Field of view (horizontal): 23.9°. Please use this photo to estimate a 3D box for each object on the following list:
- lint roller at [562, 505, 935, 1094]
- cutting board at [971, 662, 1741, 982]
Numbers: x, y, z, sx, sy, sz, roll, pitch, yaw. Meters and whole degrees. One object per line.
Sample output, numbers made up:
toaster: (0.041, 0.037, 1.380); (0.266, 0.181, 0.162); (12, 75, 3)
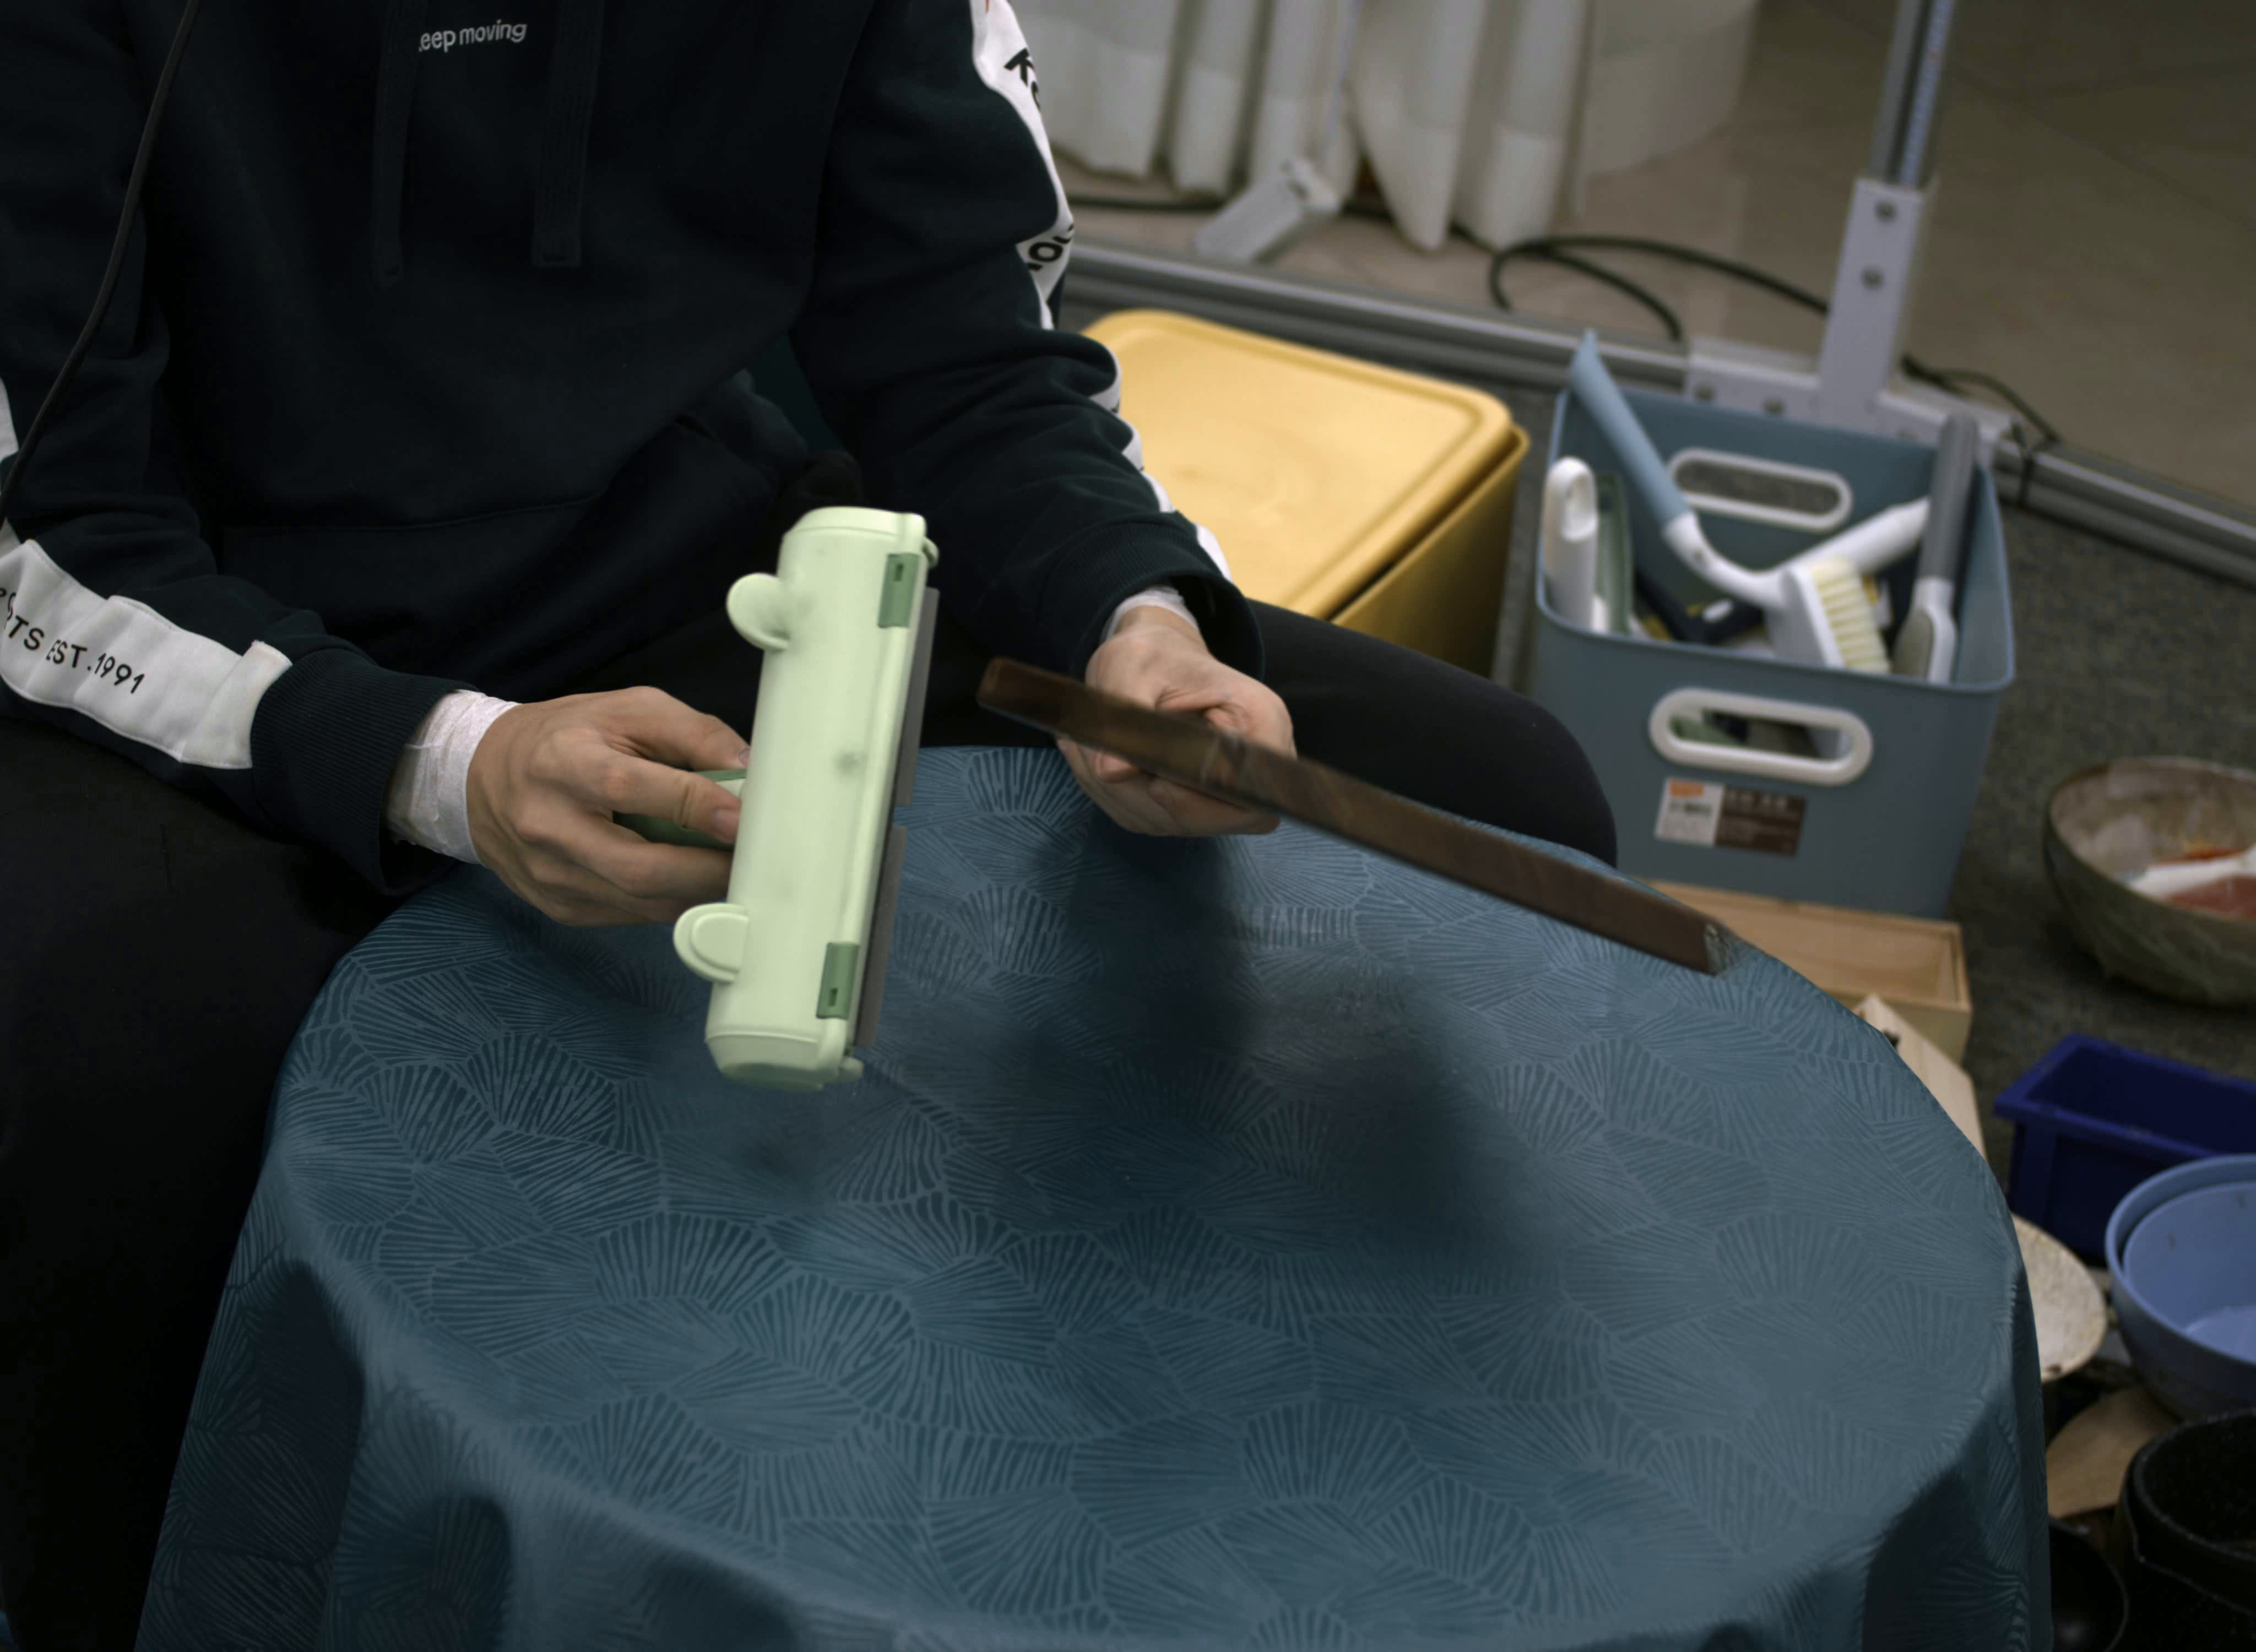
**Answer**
lint roller: (-0.150, -0.008, 1.828); (0.184, 0.199, 0.081); (-4, -18, 40)
cutting board: (0.056, -0.010, 1.857); (0.199, 0.023, 0.354); (20, 0, -21)
